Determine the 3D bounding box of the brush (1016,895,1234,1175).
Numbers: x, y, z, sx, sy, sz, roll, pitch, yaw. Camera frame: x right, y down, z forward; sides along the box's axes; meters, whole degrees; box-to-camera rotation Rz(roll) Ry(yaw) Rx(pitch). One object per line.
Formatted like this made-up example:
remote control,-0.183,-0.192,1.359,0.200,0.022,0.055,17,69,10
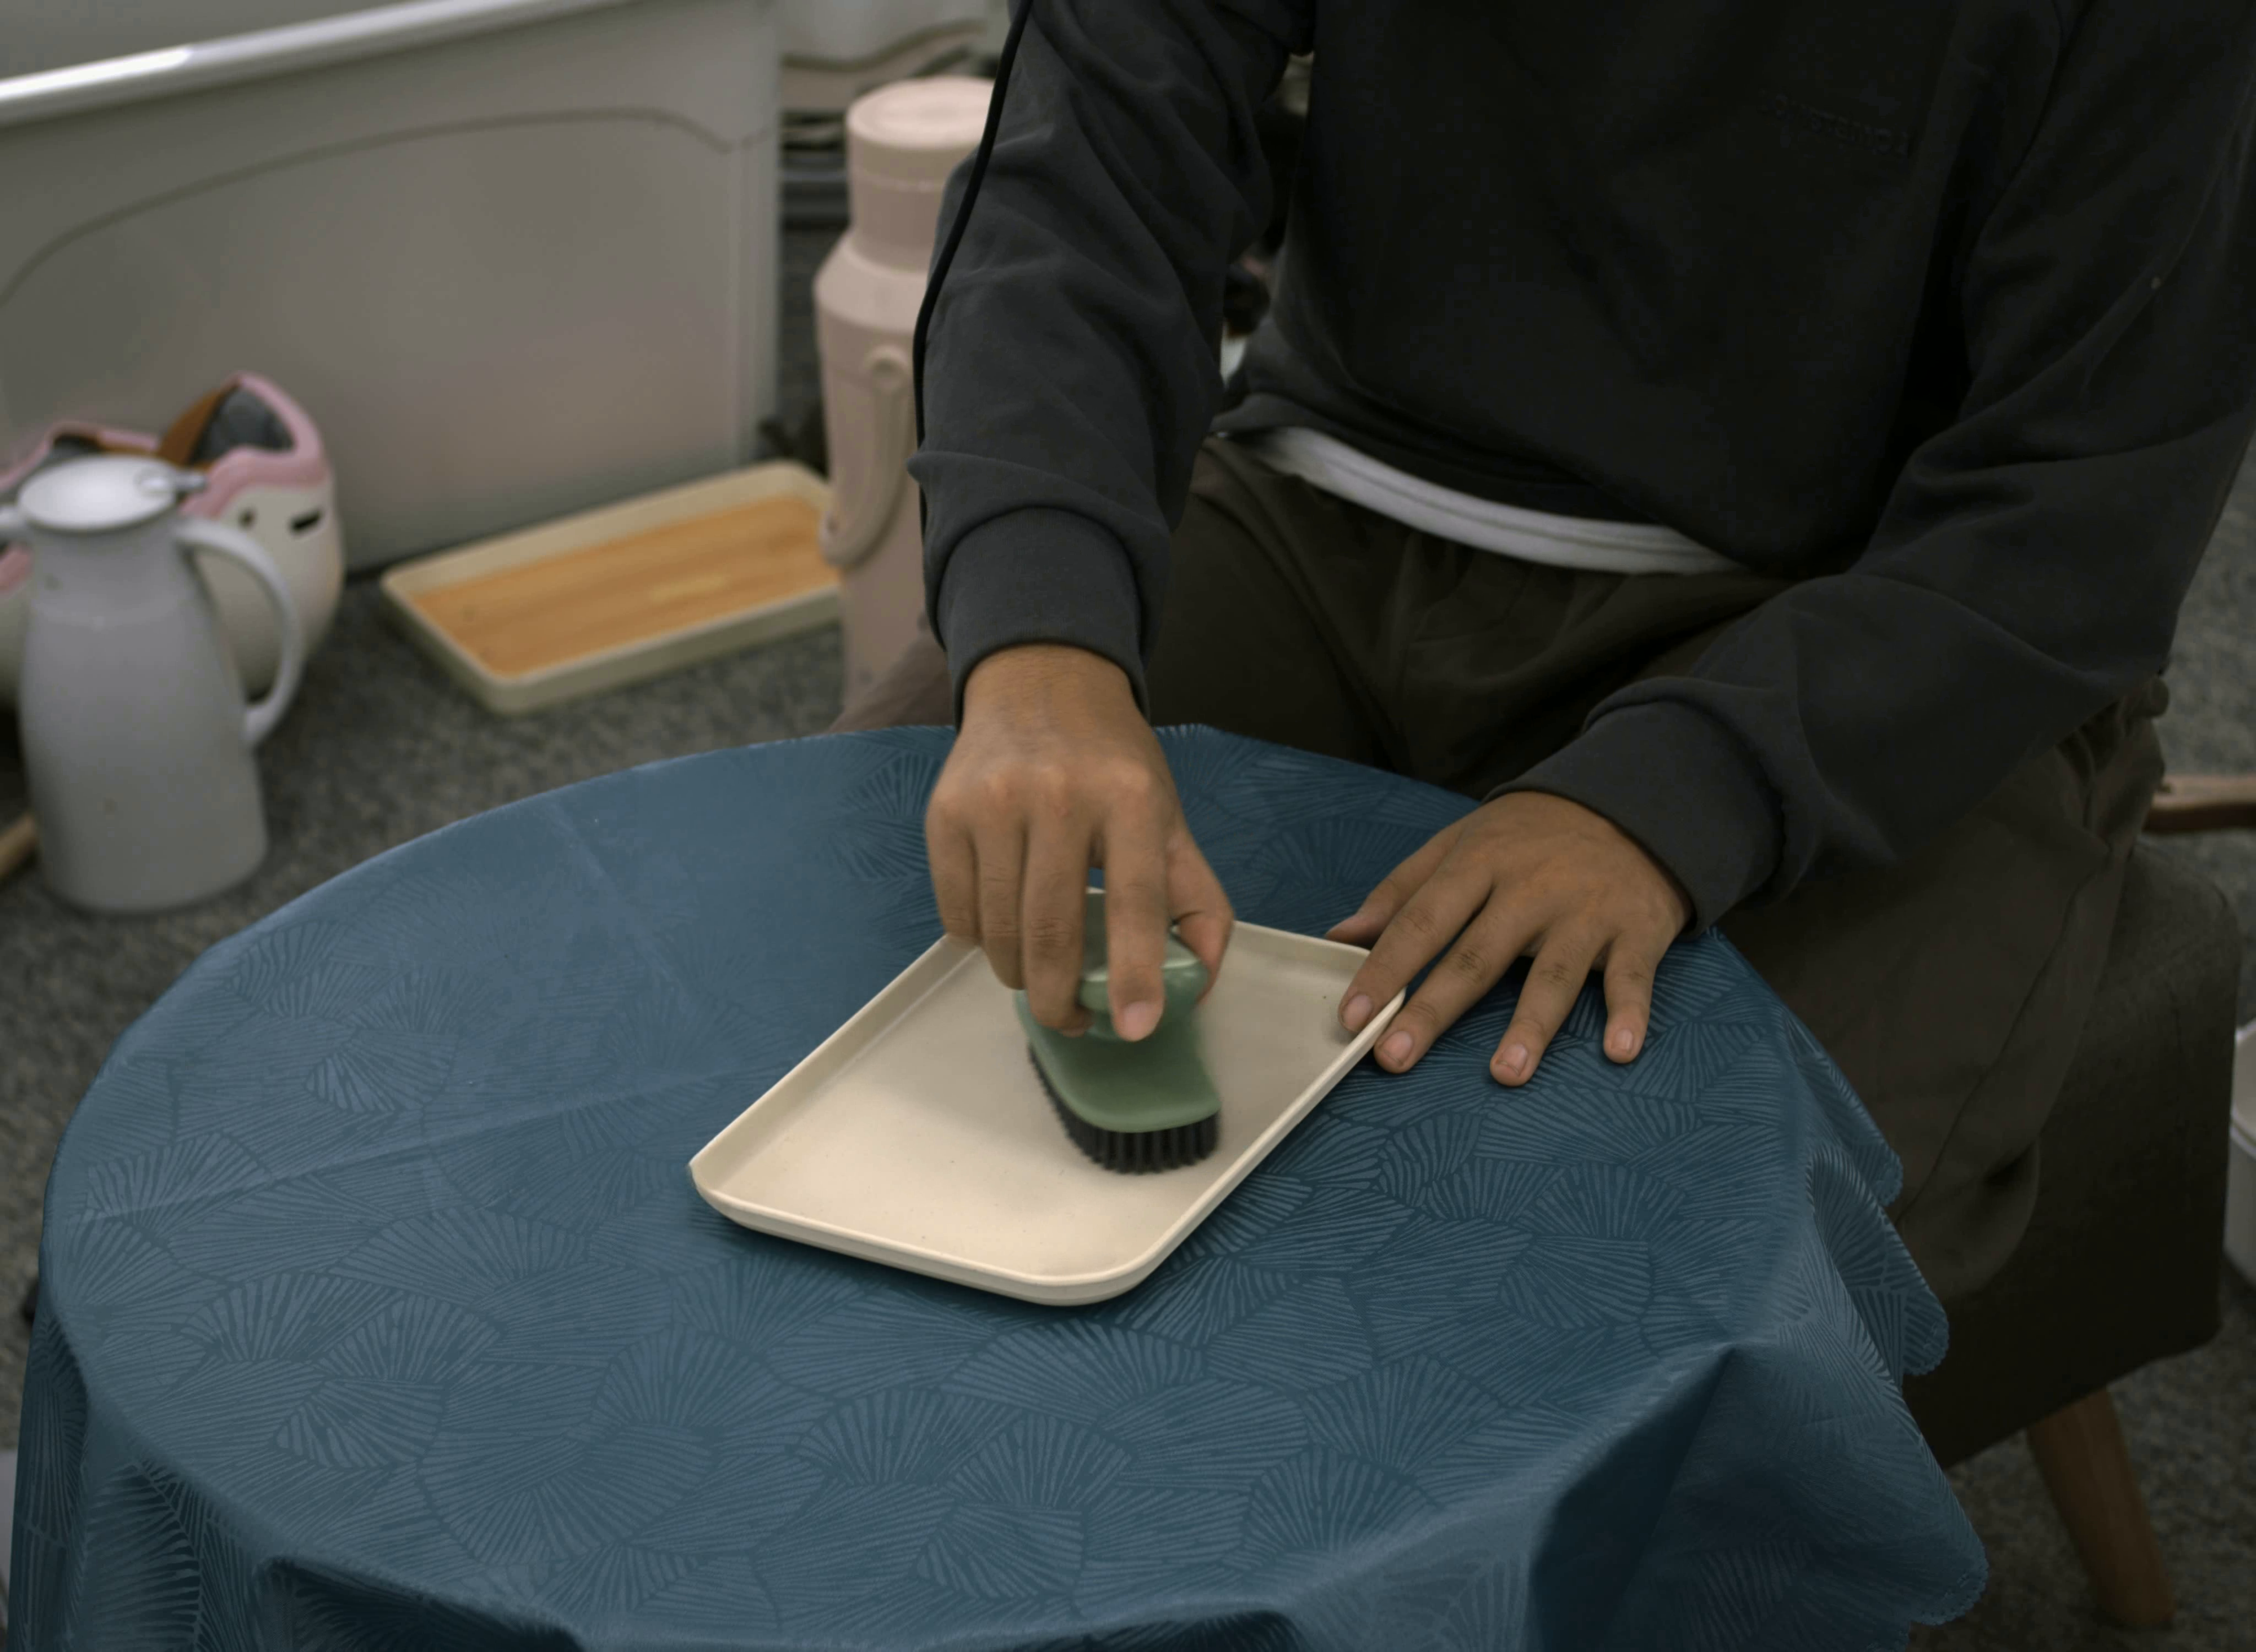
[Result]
brush,-0.001,0.069,1.905,0.059,0.075,0.123,-8,13,-15

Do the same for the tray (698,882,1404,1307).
tray,-0.023,0.090,1.909,0.170,0.017,0.243,12,31,26
